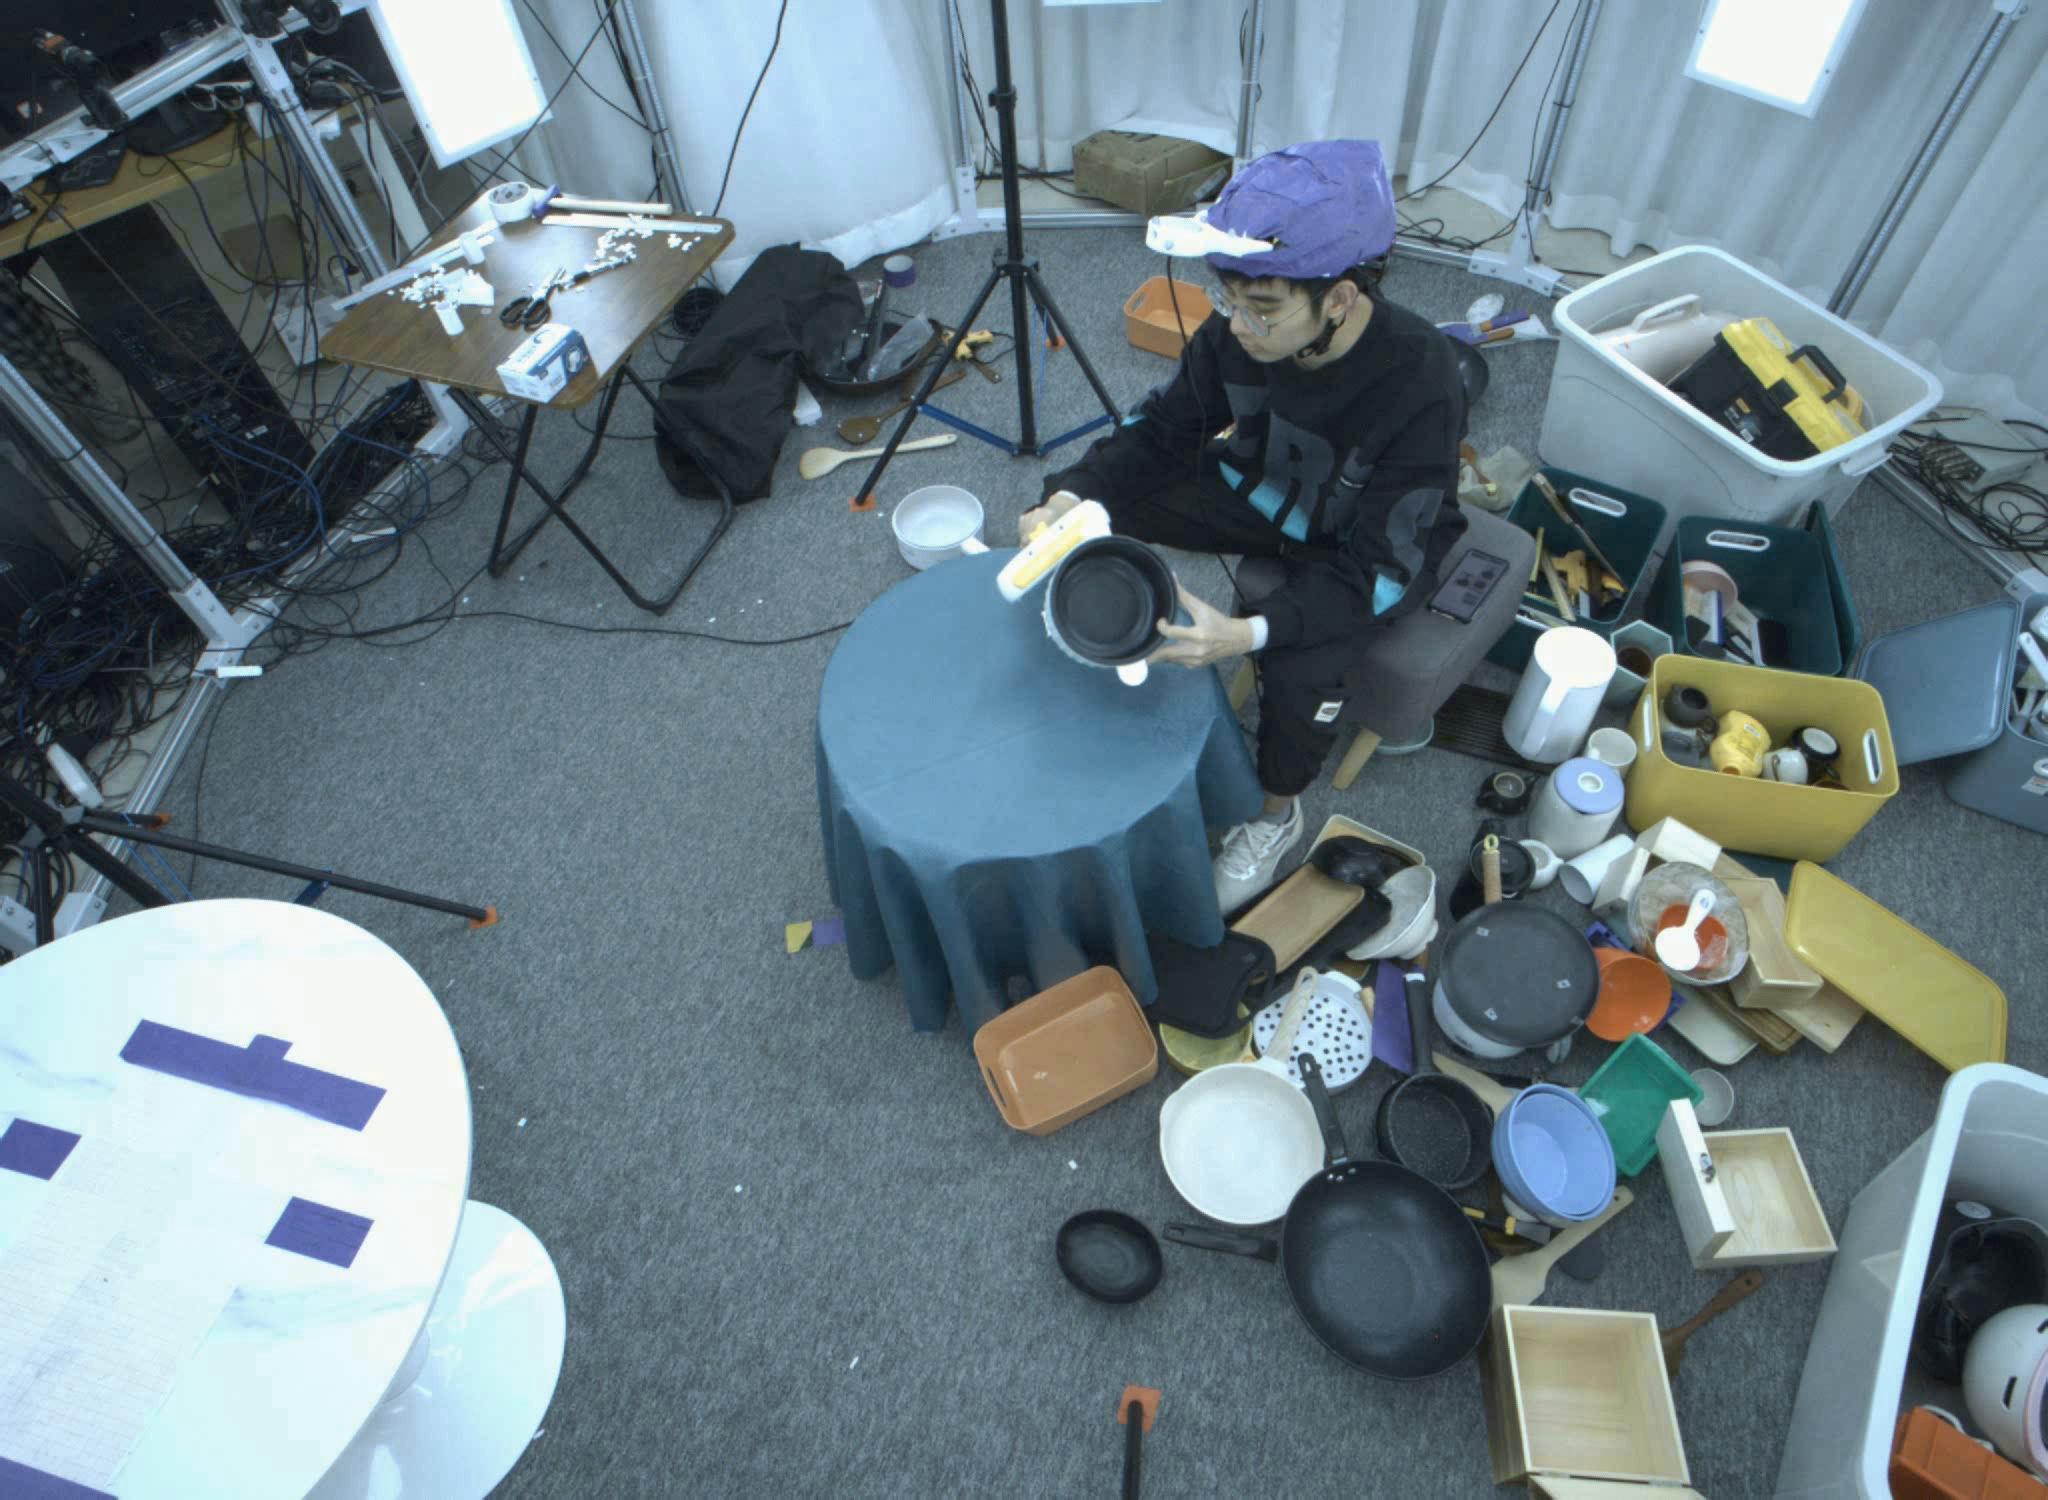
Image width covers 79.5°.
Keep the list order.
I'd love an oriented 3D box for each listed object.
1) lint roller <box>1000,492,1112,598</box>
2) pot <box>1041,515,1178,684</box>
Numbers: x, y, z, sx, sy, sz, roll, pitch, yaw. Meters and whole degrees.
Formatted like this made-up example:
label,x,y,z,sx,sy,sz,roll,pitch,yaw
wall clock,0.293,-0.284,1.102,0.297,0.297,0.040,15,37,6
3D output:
label,x,y,z,sx,sy,sz,roll,pitch,yaw
lint roller,0.038,-0.309,1.837,0.074,0.191,0.192,44,93,-7
pot,0.123,-0.211,1.759,0.191,0.142,0.241,-16,94,-3
